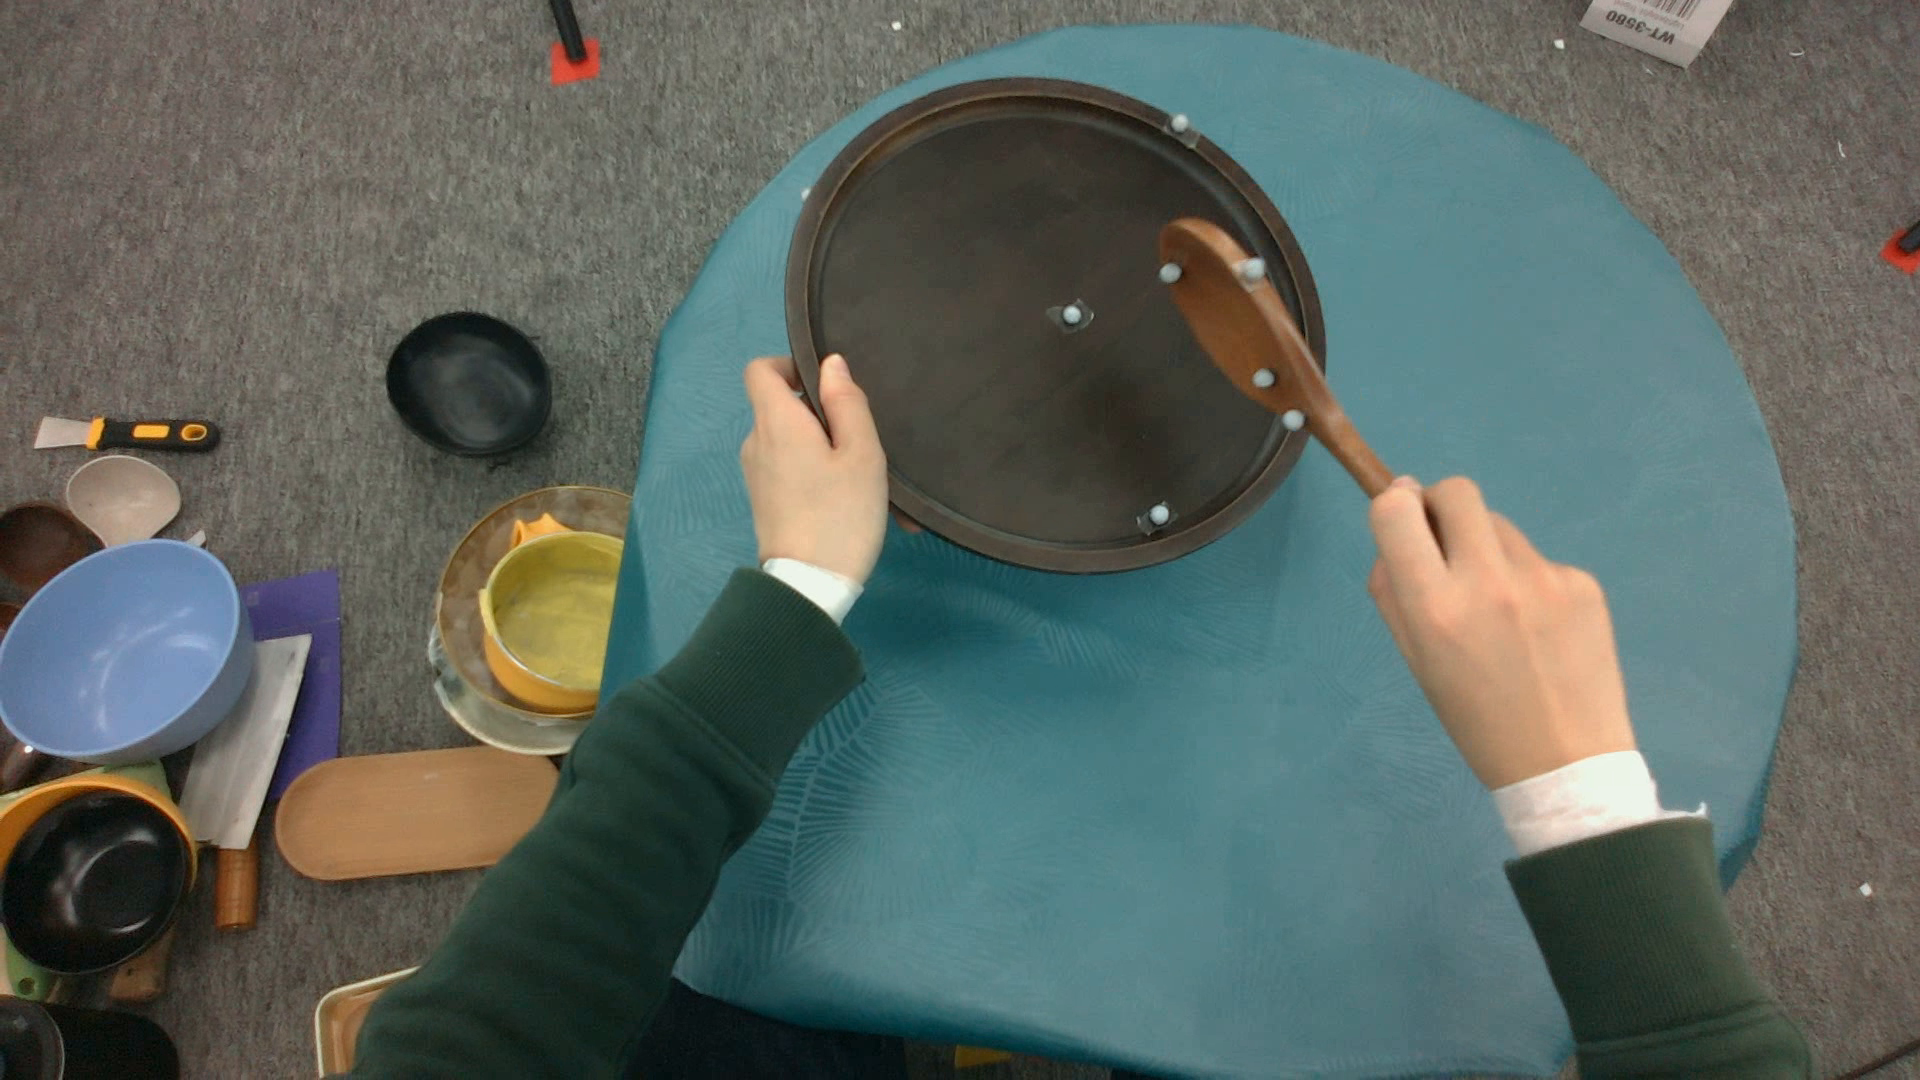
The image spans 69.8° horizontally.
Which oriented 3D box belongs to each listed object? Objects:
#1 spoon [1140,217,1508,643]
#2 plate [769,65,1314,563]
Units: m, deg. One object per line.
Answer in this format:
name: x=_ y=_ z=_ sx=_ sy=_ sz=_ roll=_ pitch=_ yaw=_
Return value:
spoon: x=0.137 y=-0.047 z=0.538 sx=0.017 sy=0.075 sz=0.216 roll=-31 pitch=67 yaw=-9
plate: x=0.040 y=-0.108 z=0.633 sx=0.255 sy=0.029 sz=0.255 roll=4 pitch=68 yaw=-9
